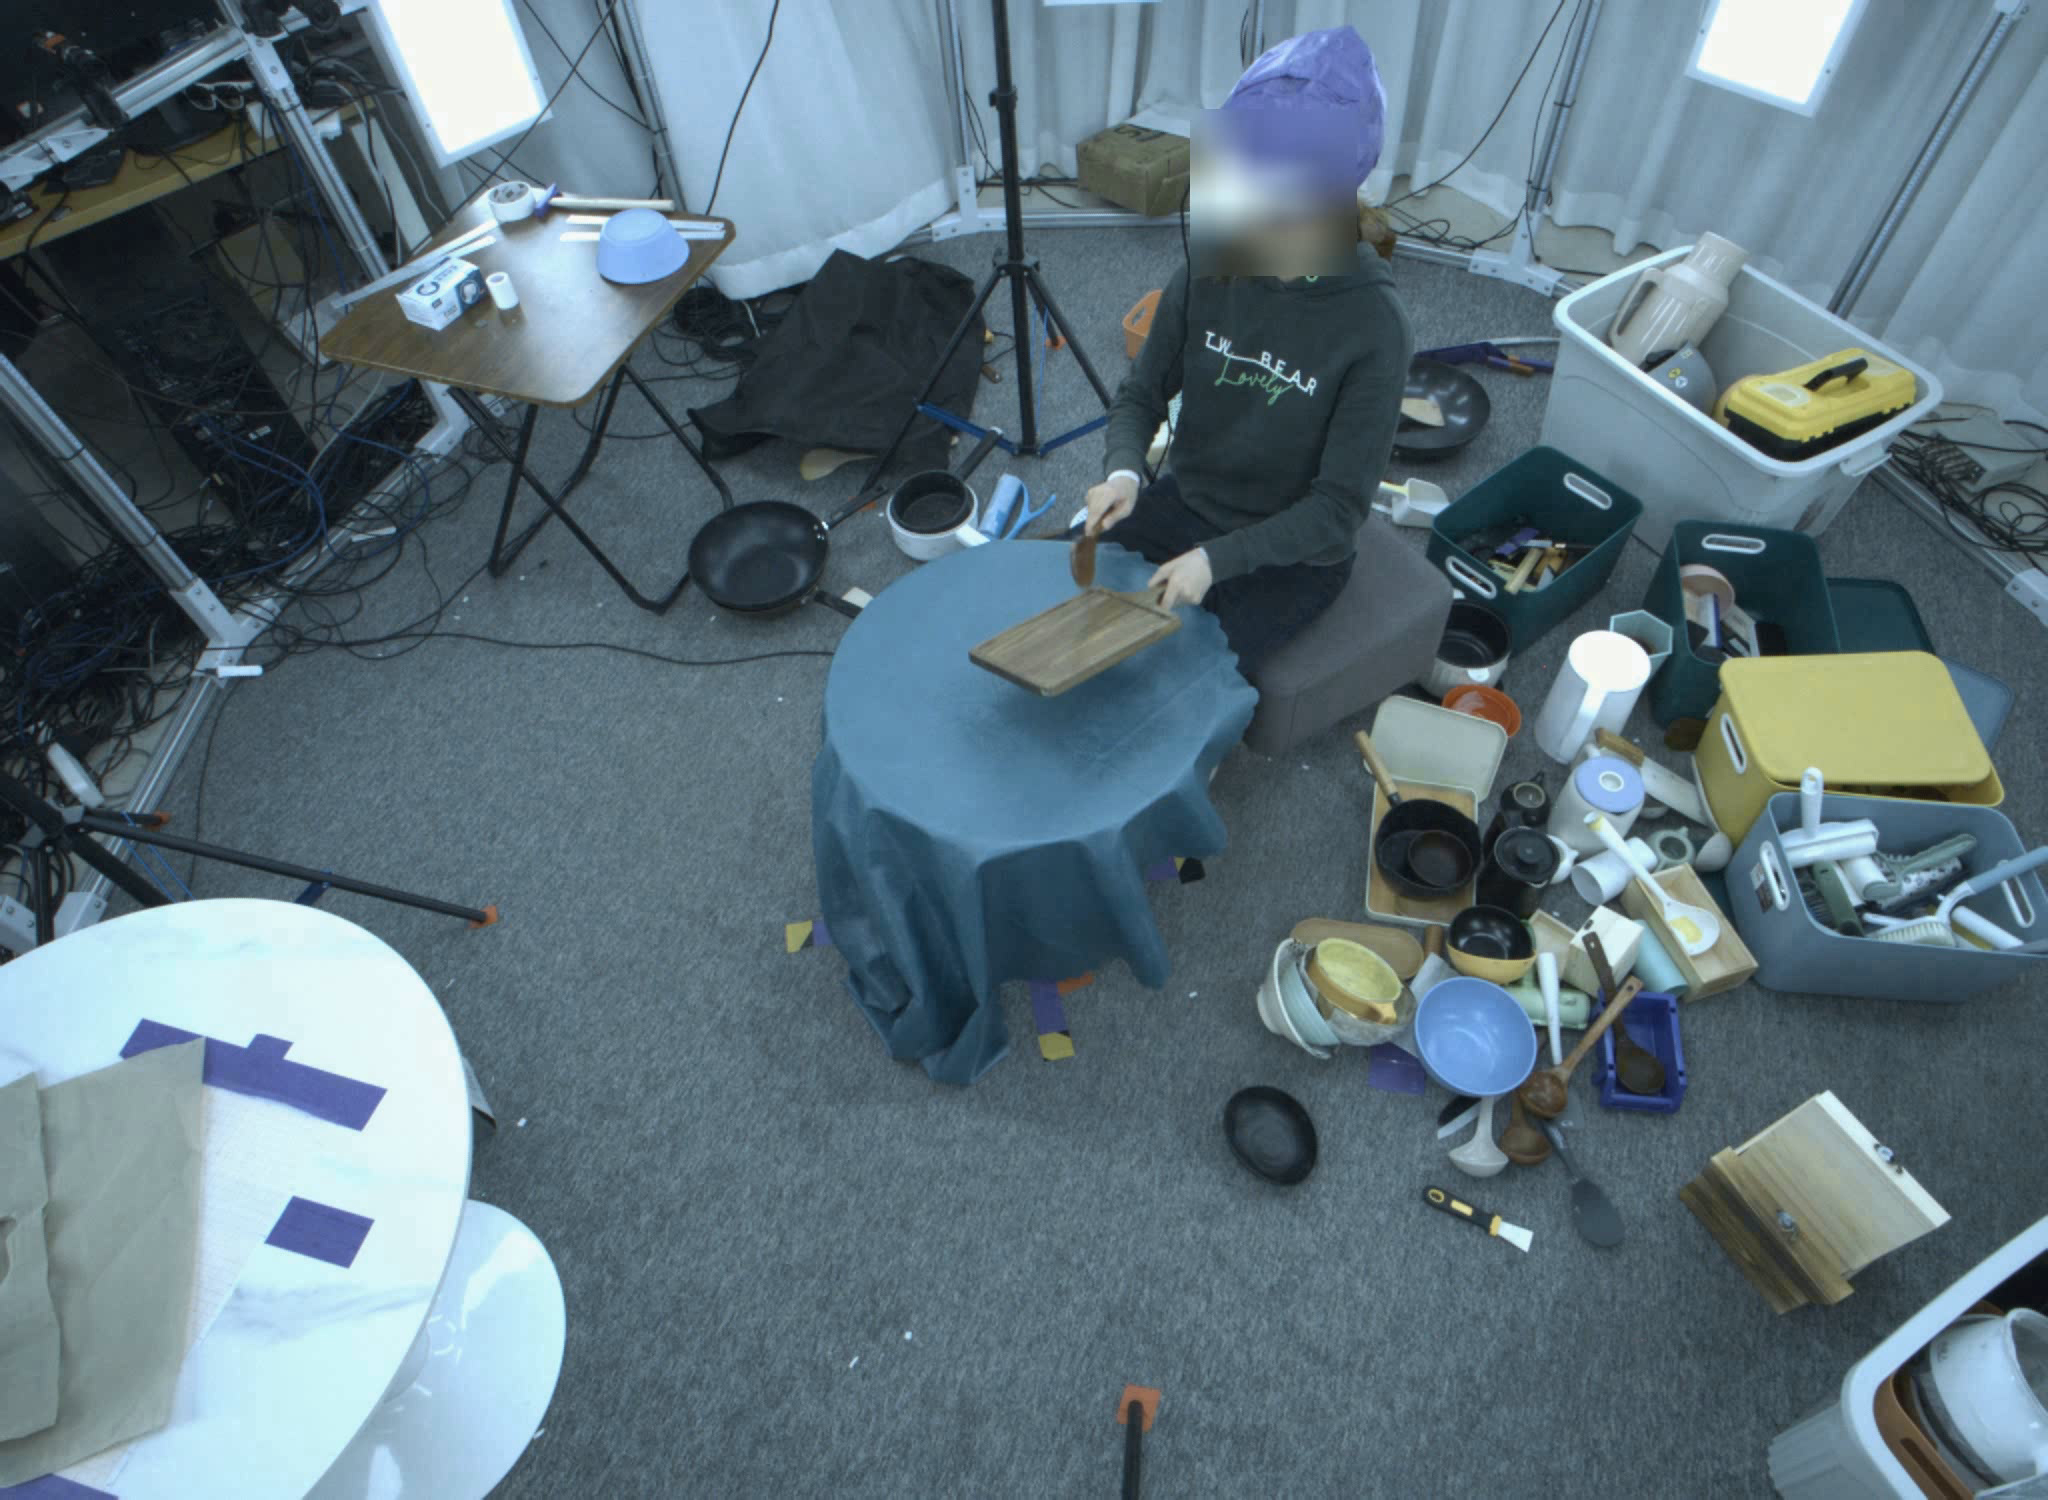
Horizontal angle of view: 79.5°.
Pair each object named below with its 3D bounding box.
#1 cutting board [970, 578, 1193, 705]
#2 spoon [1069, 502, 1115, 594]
[{"bbox_3d":[0.114,-0.173,1.788,0.356,0.023,0.196,-30,36,-27],"label":"cutting board"},{"bbox_3d":[0.102,-0.308,1.828,0.017,0.077,0.215,-7,39,28],"label":"spoon"}]
